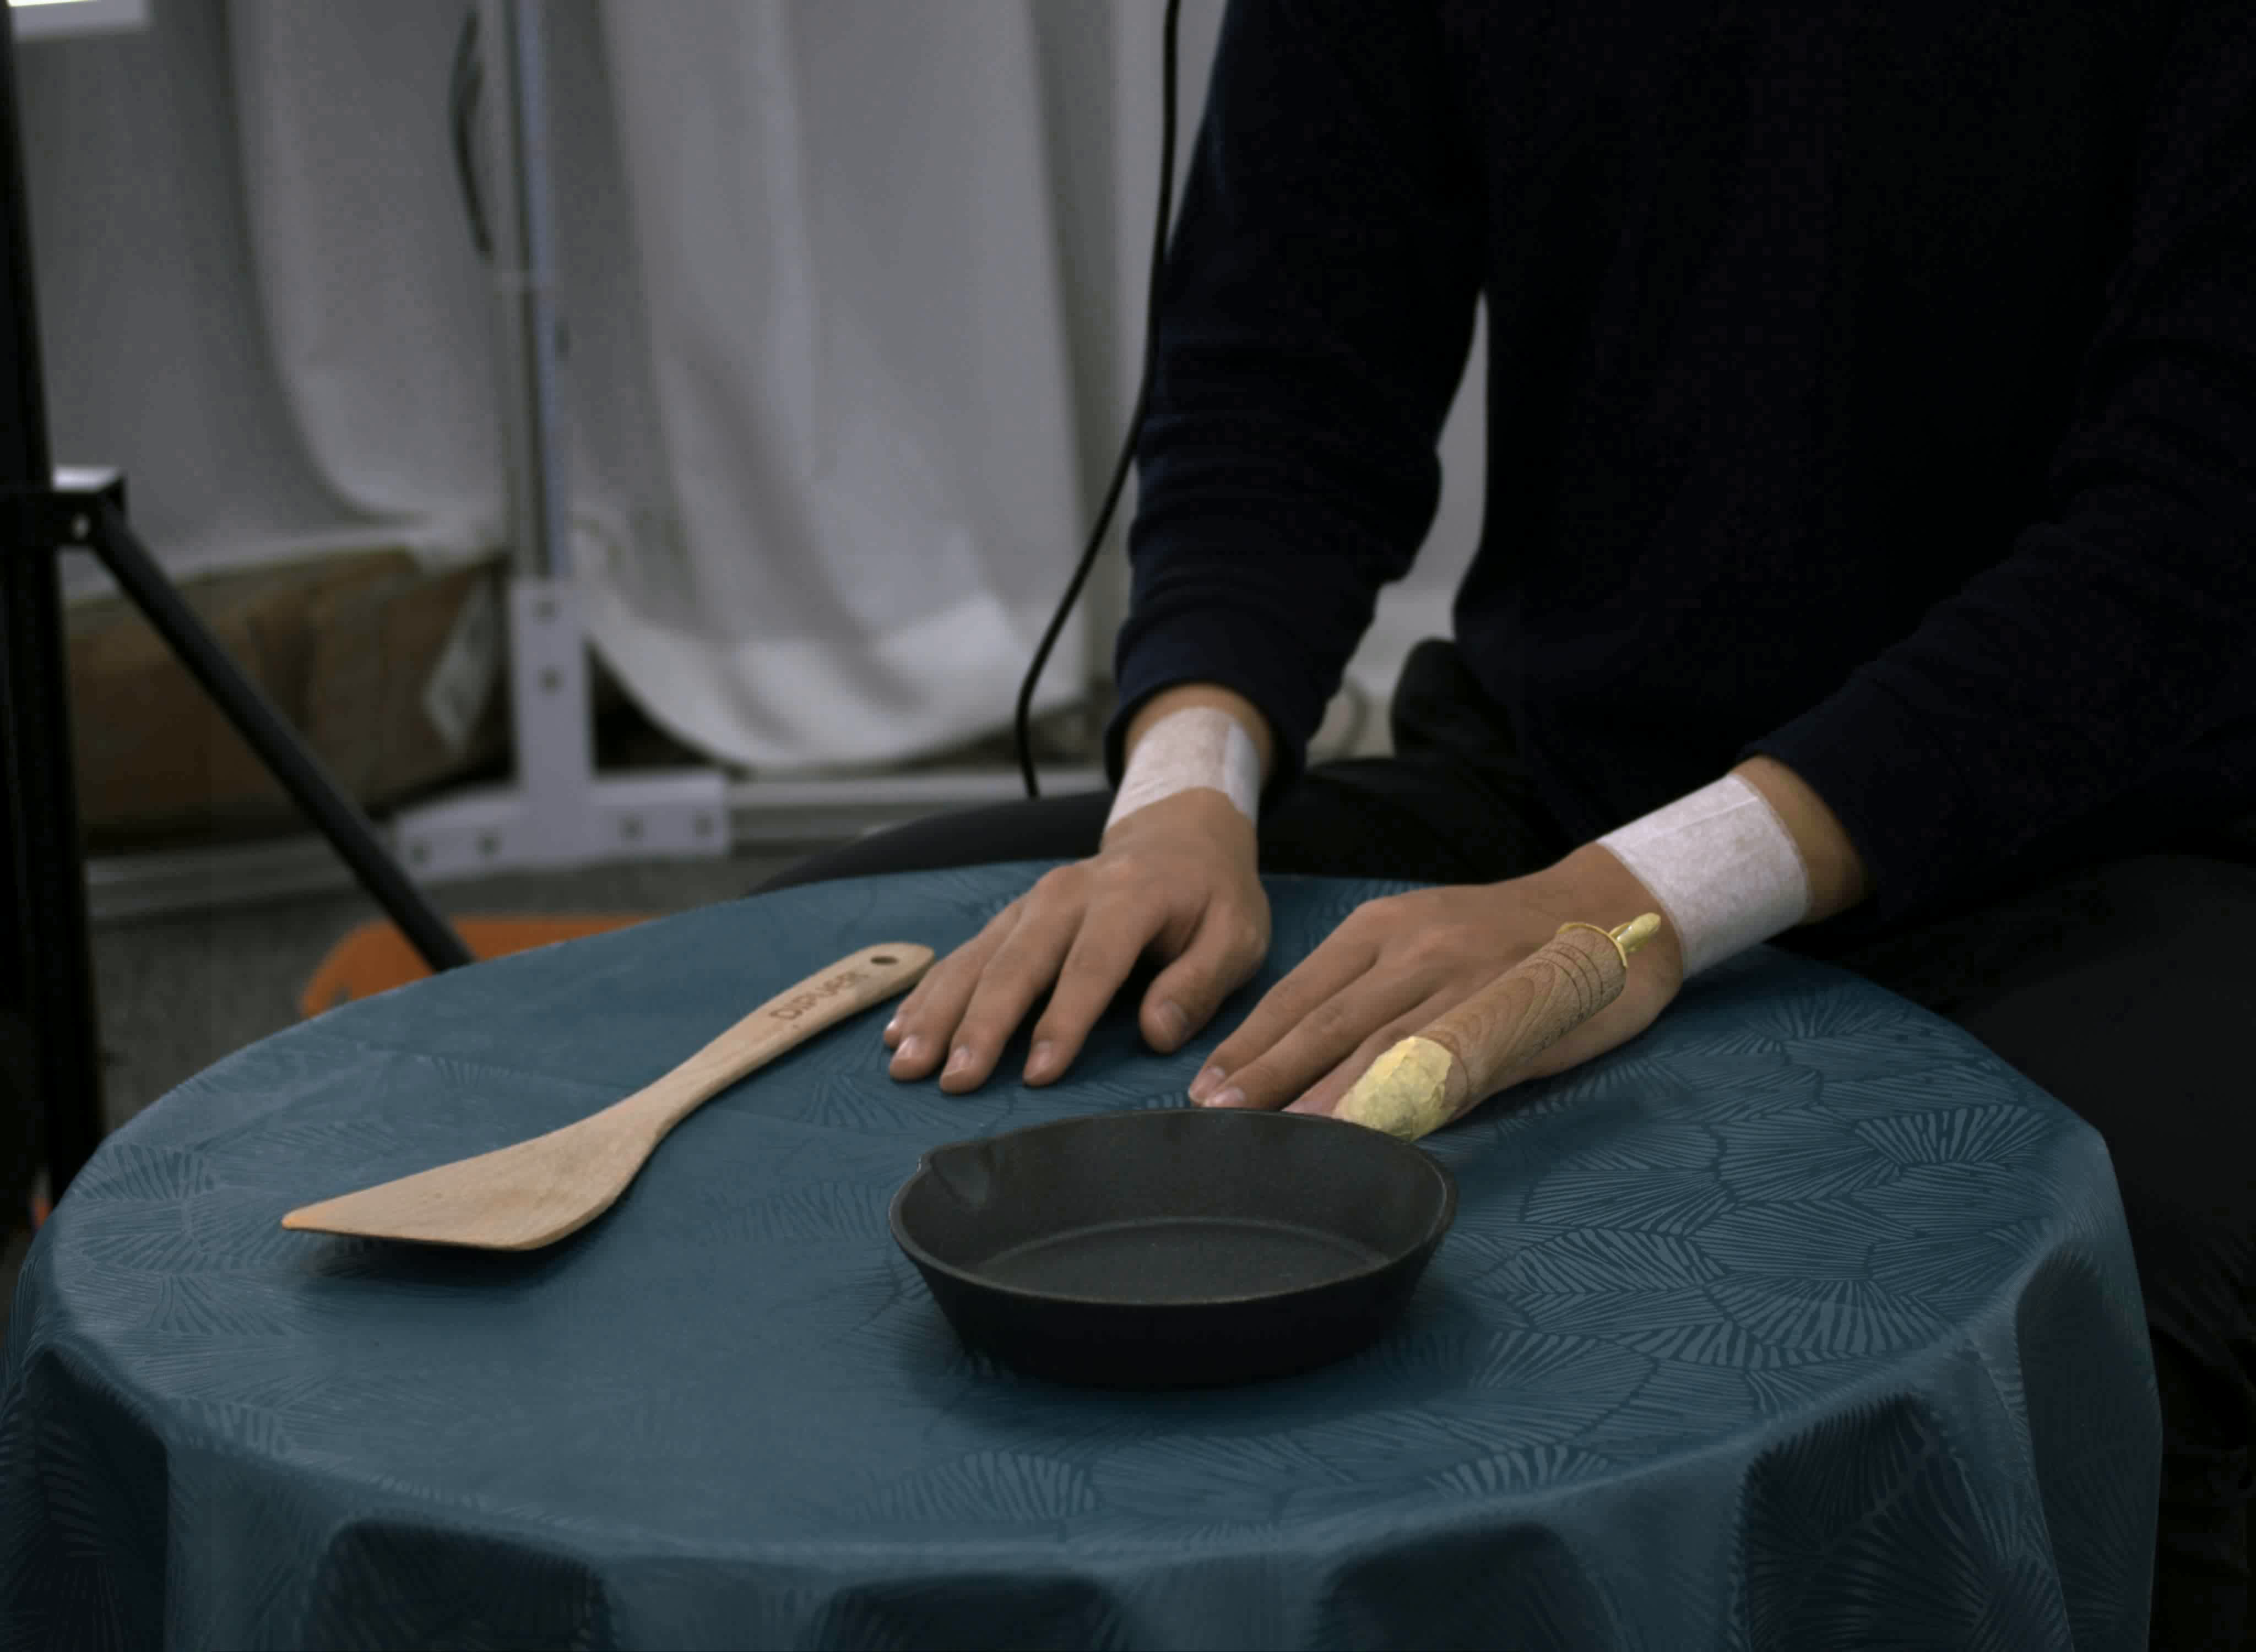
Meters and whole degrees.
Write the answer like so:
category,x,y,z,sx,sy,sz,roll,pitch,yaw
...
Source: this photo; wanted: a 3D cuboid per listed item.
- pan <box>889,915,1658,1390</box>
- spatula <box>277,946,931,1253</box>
category,x,y,z,sx,sy,sz,roll,pitch,yaw
pan,0.064,0.090,1.519,0.172,0.049,0.317,10,21,38
spatula,-0.142,0.081,1.646,0.081,0.016,0.322,6,18,25
